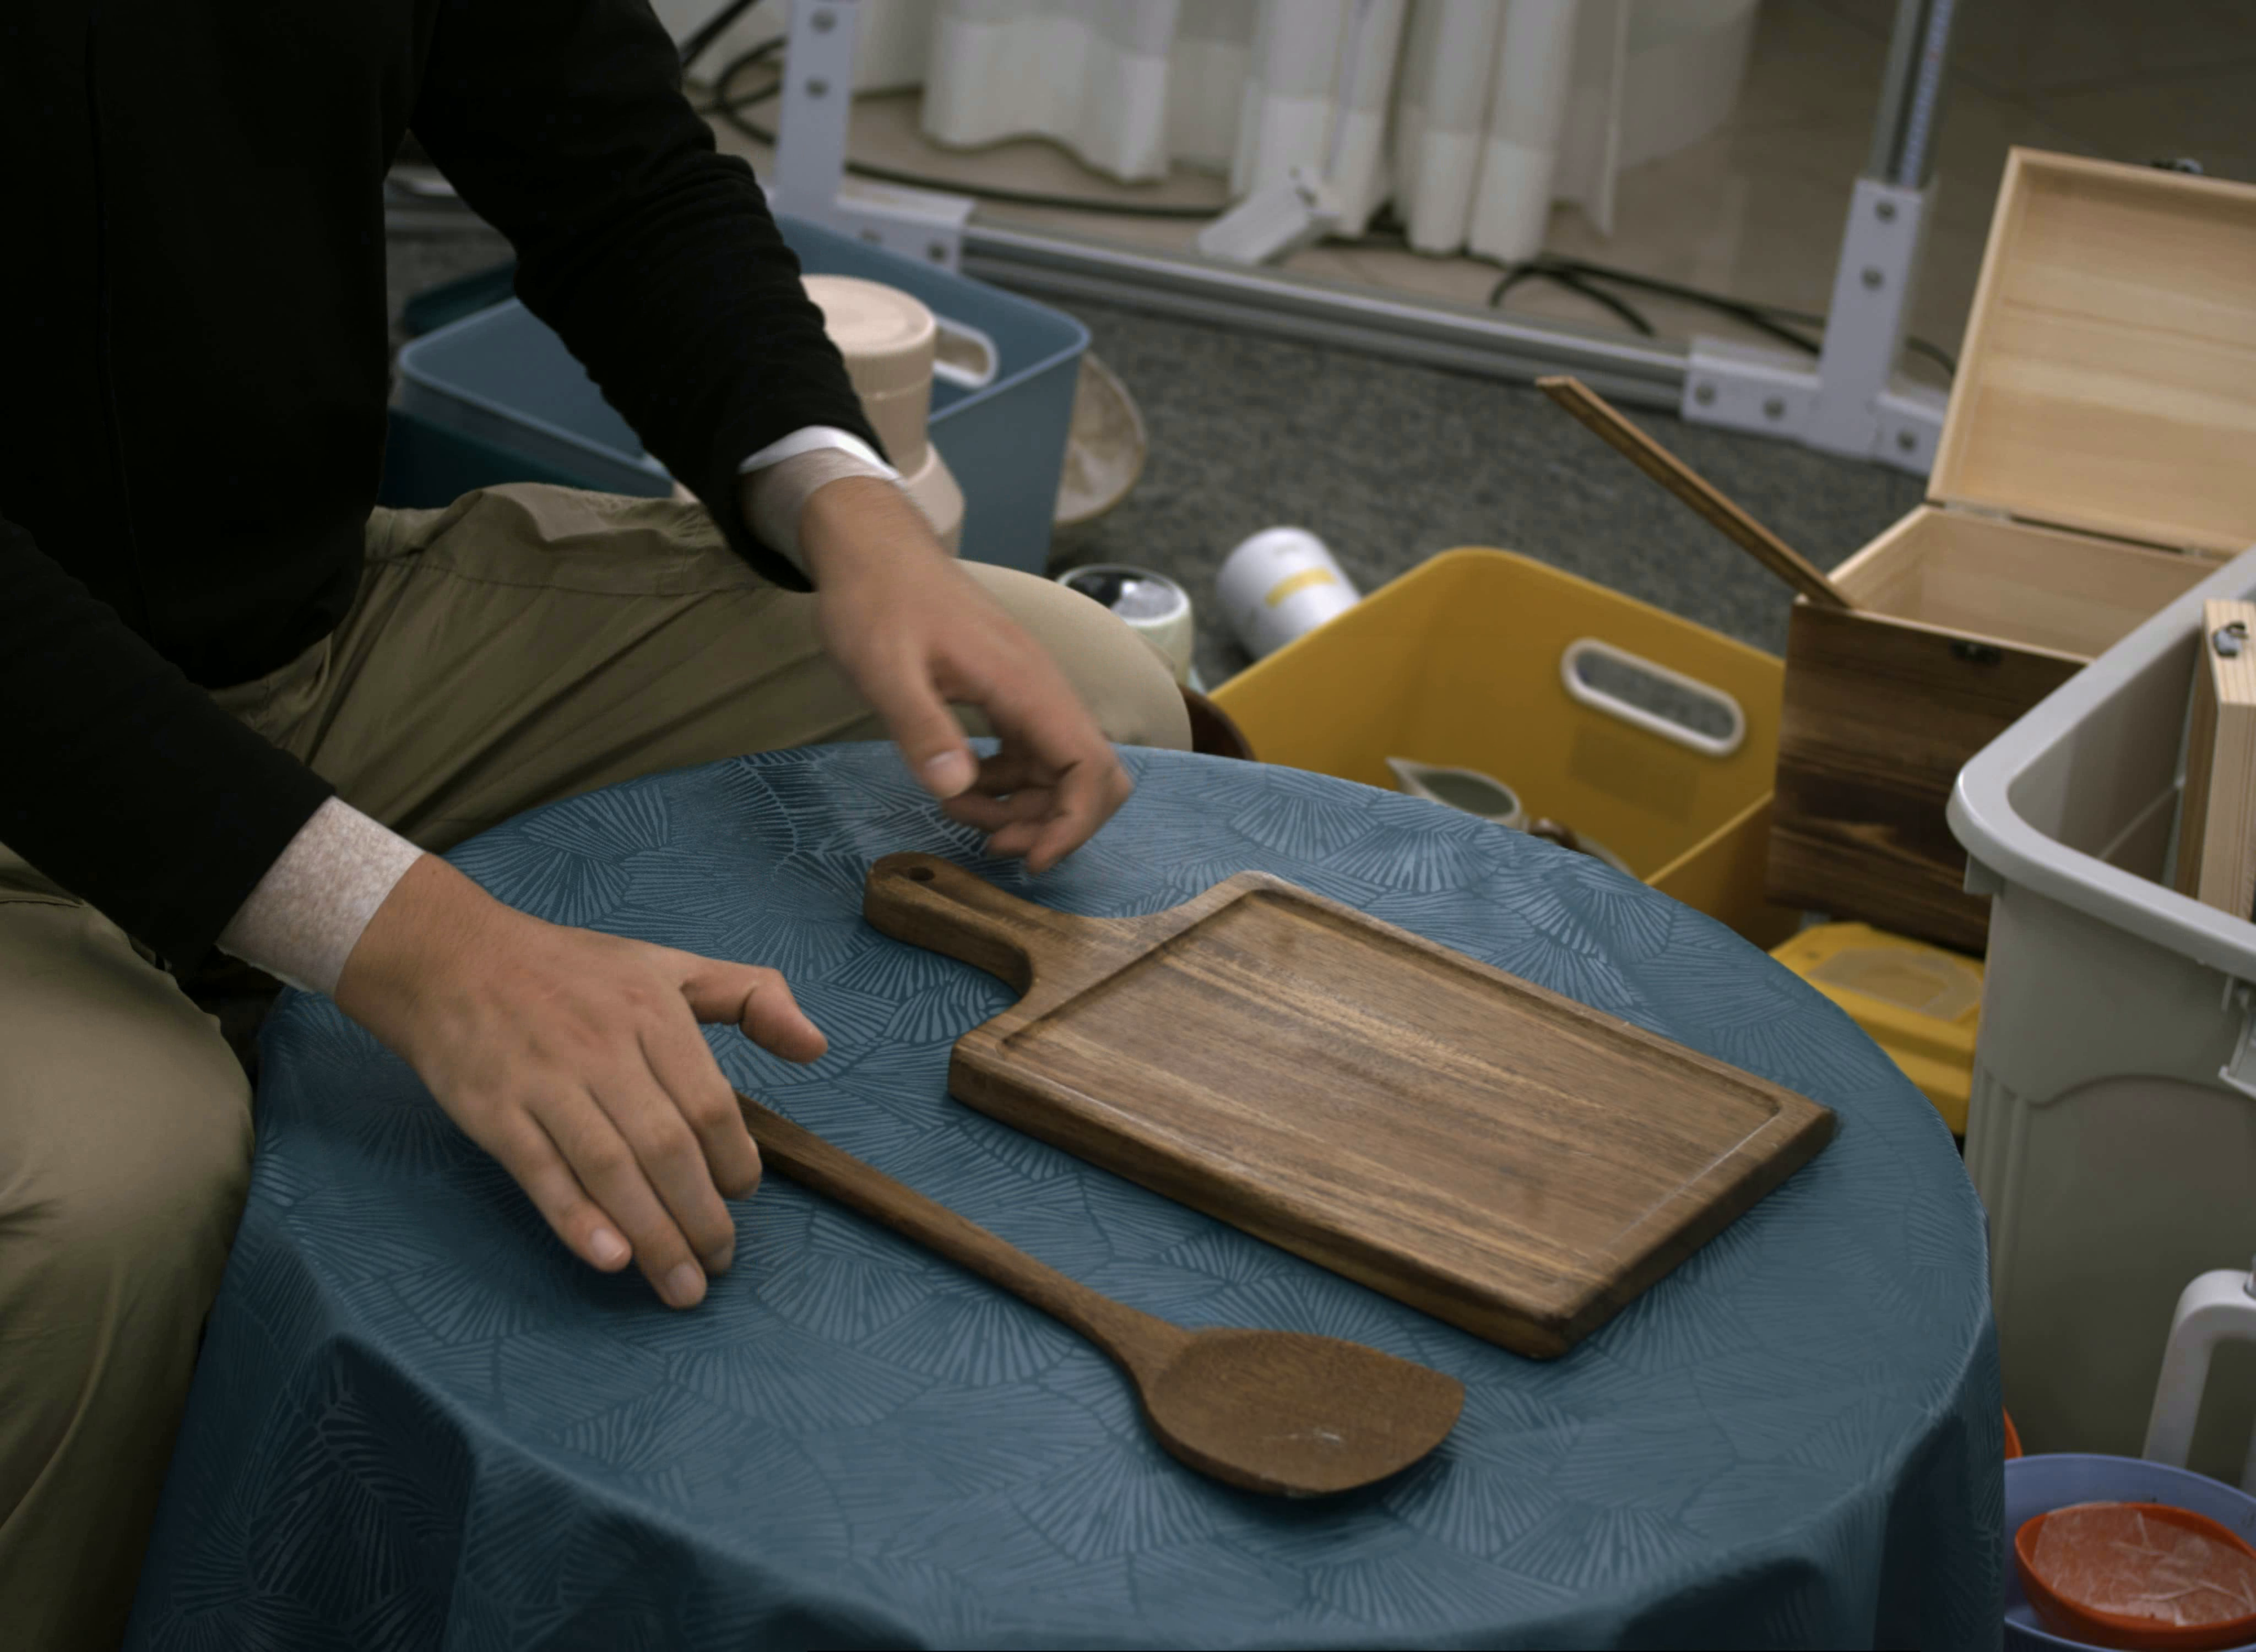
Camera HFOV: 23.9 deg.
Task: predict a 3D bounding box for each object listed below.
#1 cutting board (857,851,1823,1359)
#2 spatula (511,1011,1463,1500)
[{"bbox_3d":[0.050,0.078,1.880,0.354,0.023,0.200,22,31,28],"label":"cutting board"},{"bbox_3d":[-0.062,0.133,1.753,0.388,0.016,0.096,24,31,32],"label":"spatula"}]
